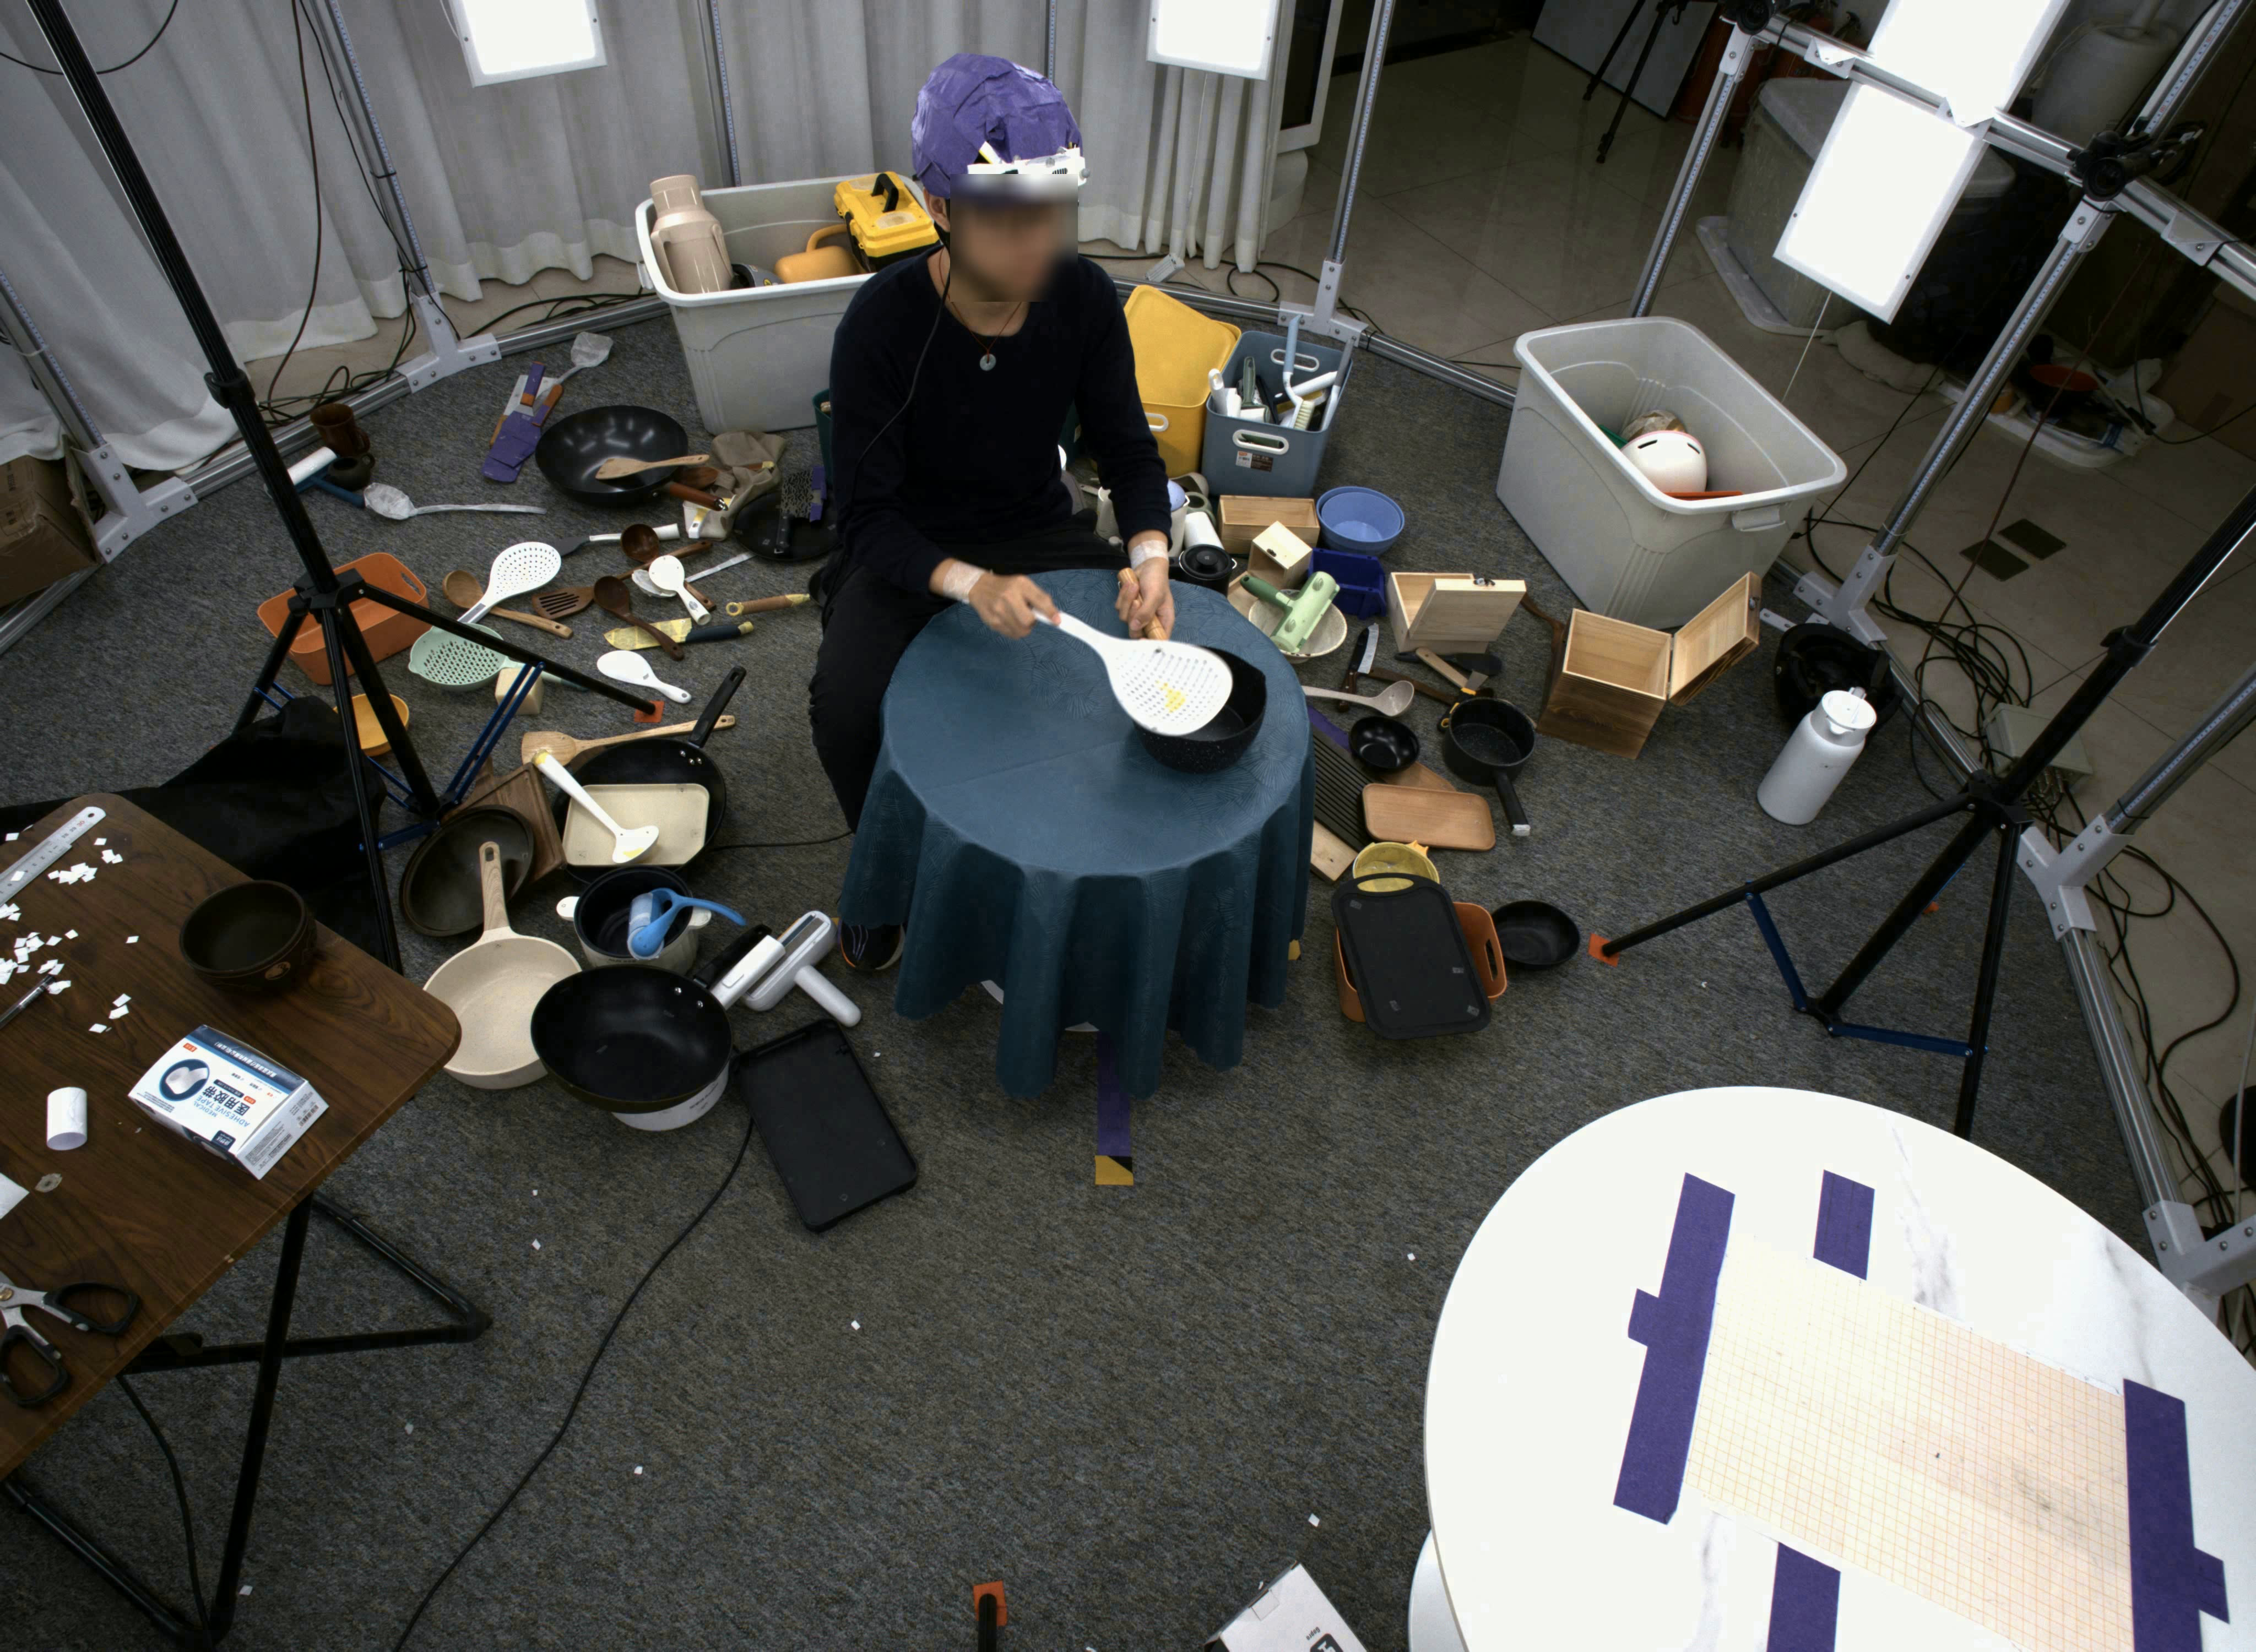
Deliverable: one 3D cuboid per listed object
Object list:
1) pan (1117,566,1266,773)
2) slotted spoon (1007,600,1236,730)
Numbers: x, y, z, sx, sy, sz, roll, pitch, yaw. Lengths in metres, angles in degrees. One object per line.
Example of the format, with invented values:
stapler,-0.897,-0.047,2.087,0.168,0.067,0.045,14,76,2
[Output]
pan,0.059,-0.220,1.792,0.208,0.105,0.350,-19,54,-16
slotted spoon,-0.019,-0.230,1.678,0.351,0.049,0.138,32,70,19
